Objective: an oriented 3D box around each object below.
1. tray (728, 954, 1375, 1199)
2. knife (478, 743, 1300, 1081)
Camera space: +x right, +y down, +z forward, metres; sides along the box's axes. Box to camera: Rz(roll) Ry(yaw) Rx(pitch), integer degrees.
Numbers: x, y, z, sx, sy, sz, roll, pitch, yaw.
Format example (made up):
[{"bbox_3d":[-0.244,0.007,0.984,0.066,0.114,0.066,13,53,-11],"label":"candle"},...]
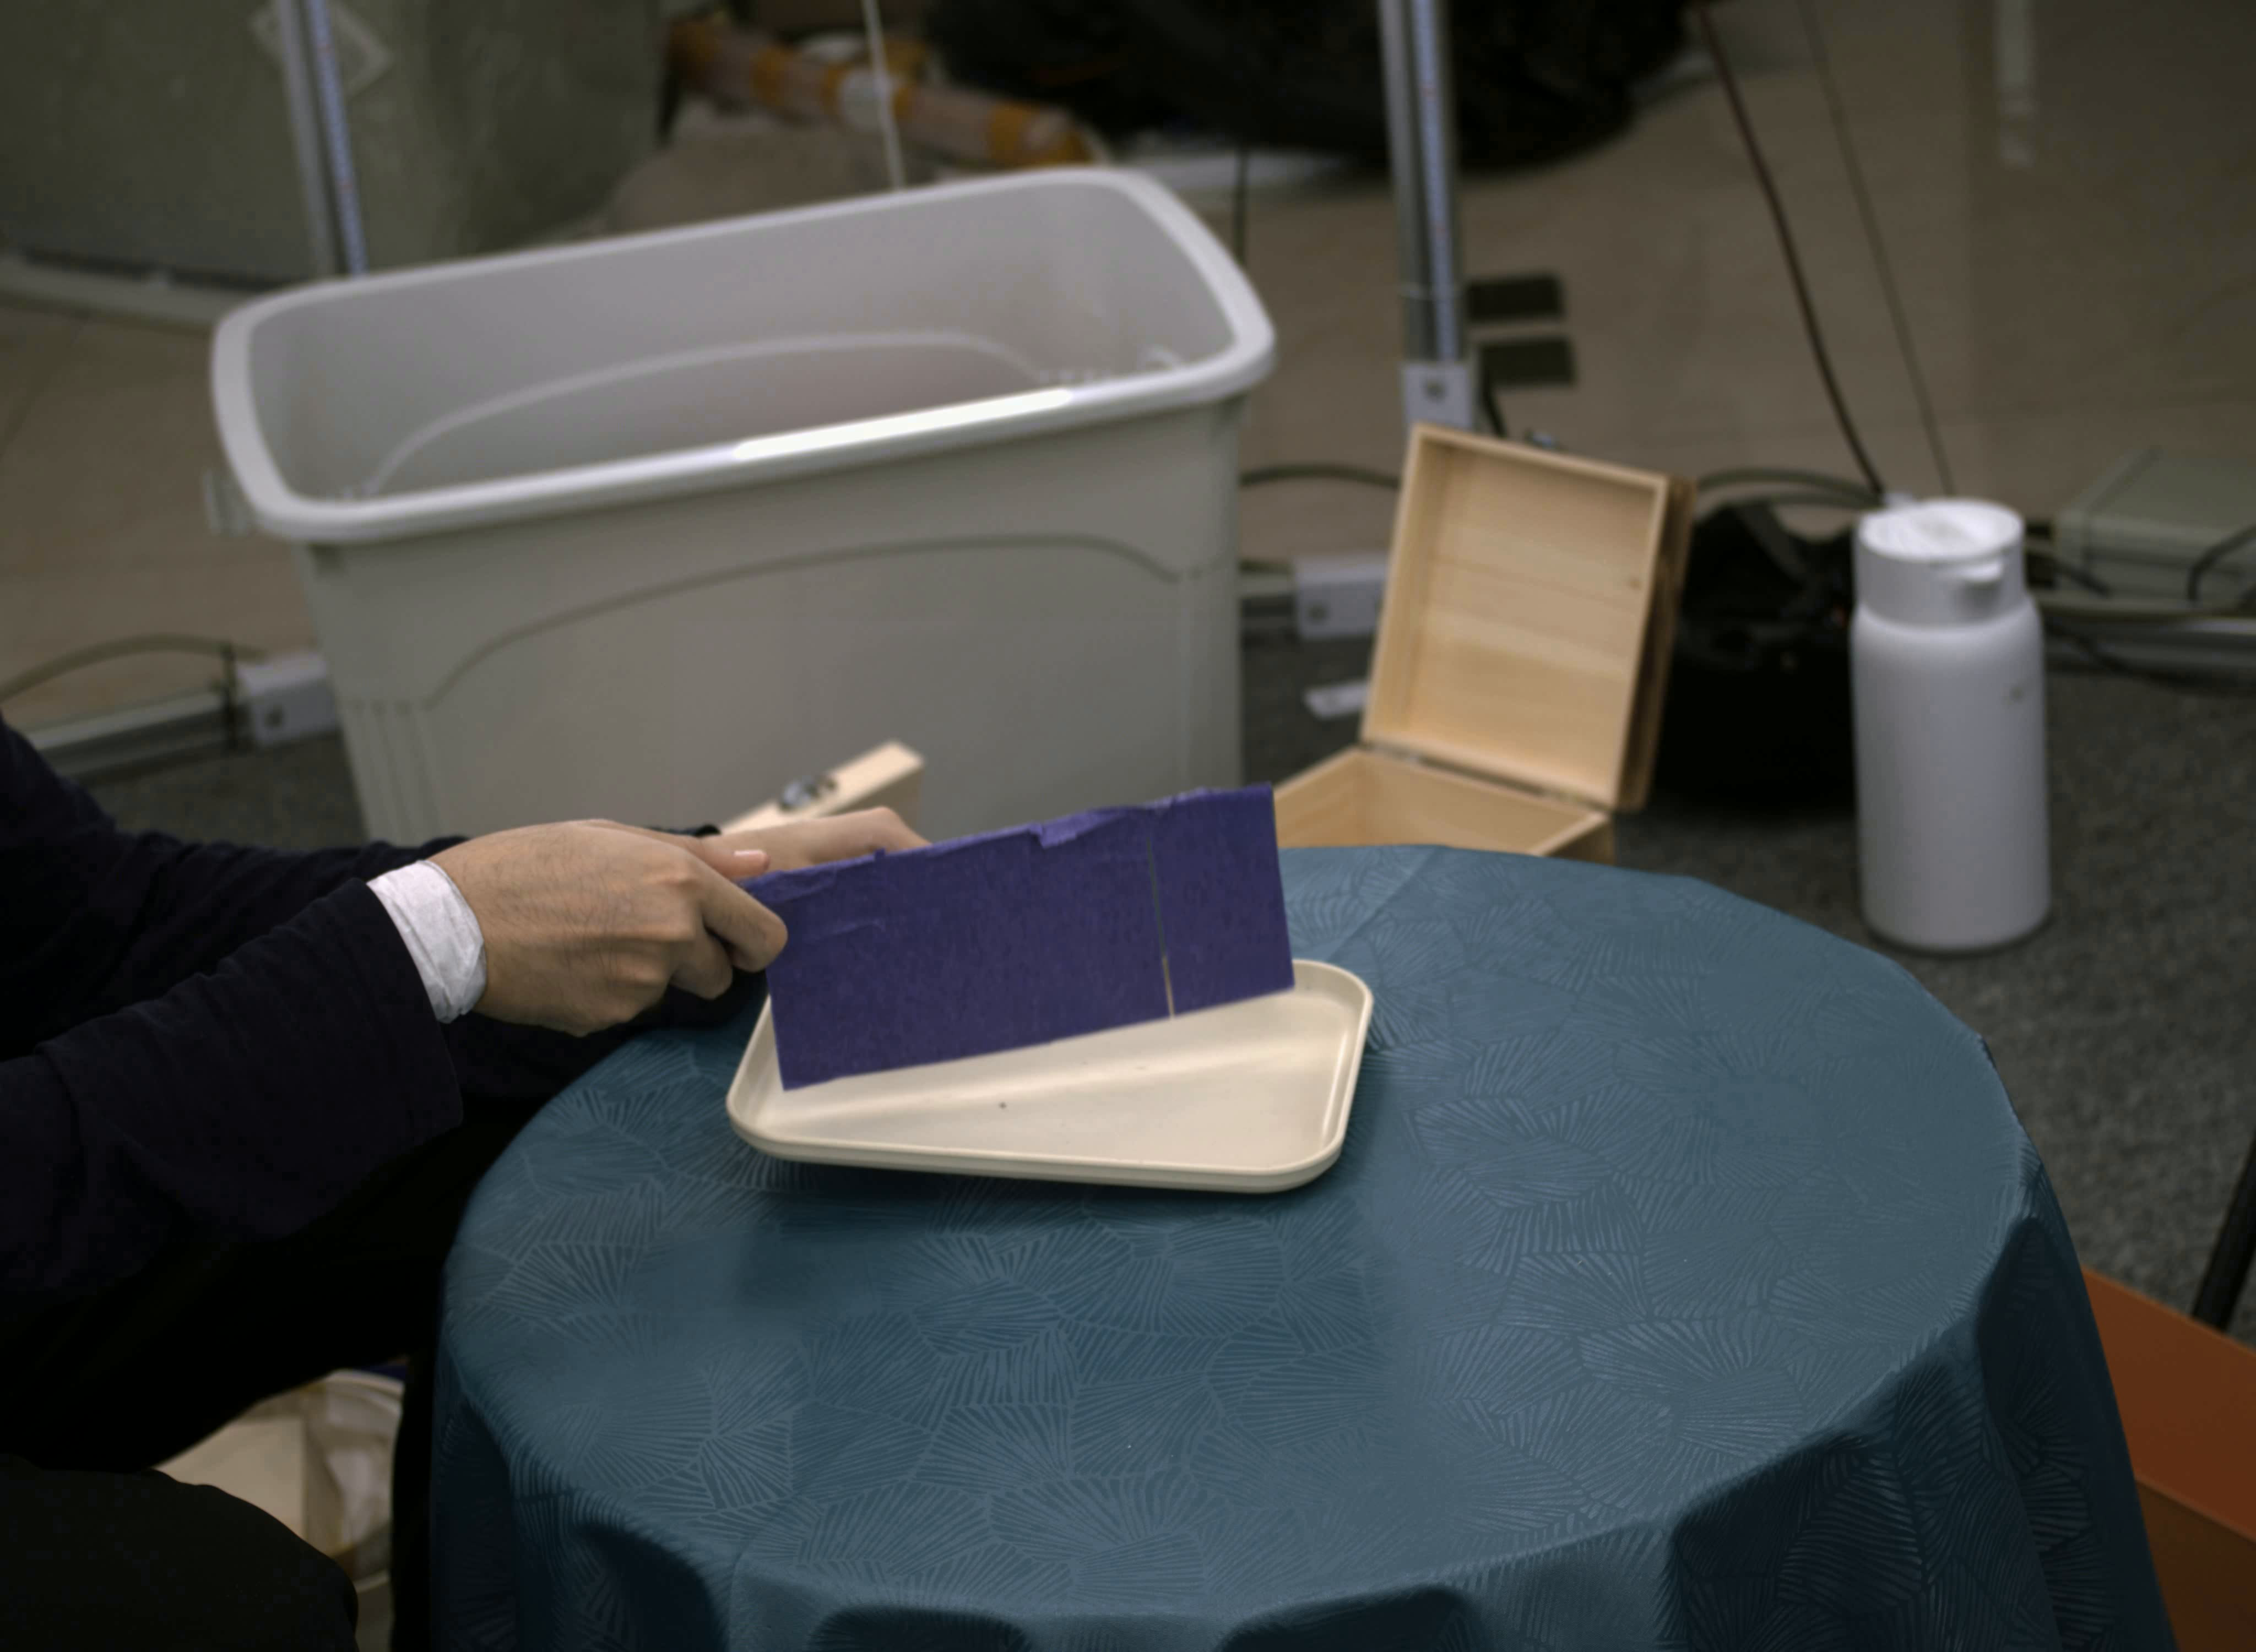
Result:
[{"bbox_3d":[-0.028,0.093,2.208,0.239,0.018,0.168,4,29,7],"label":"tray"},{"bbox_3d":[-0.086,0.047,2.162,0.314,0.105,0.032,-12,22,-9],"label":"knife"}]
